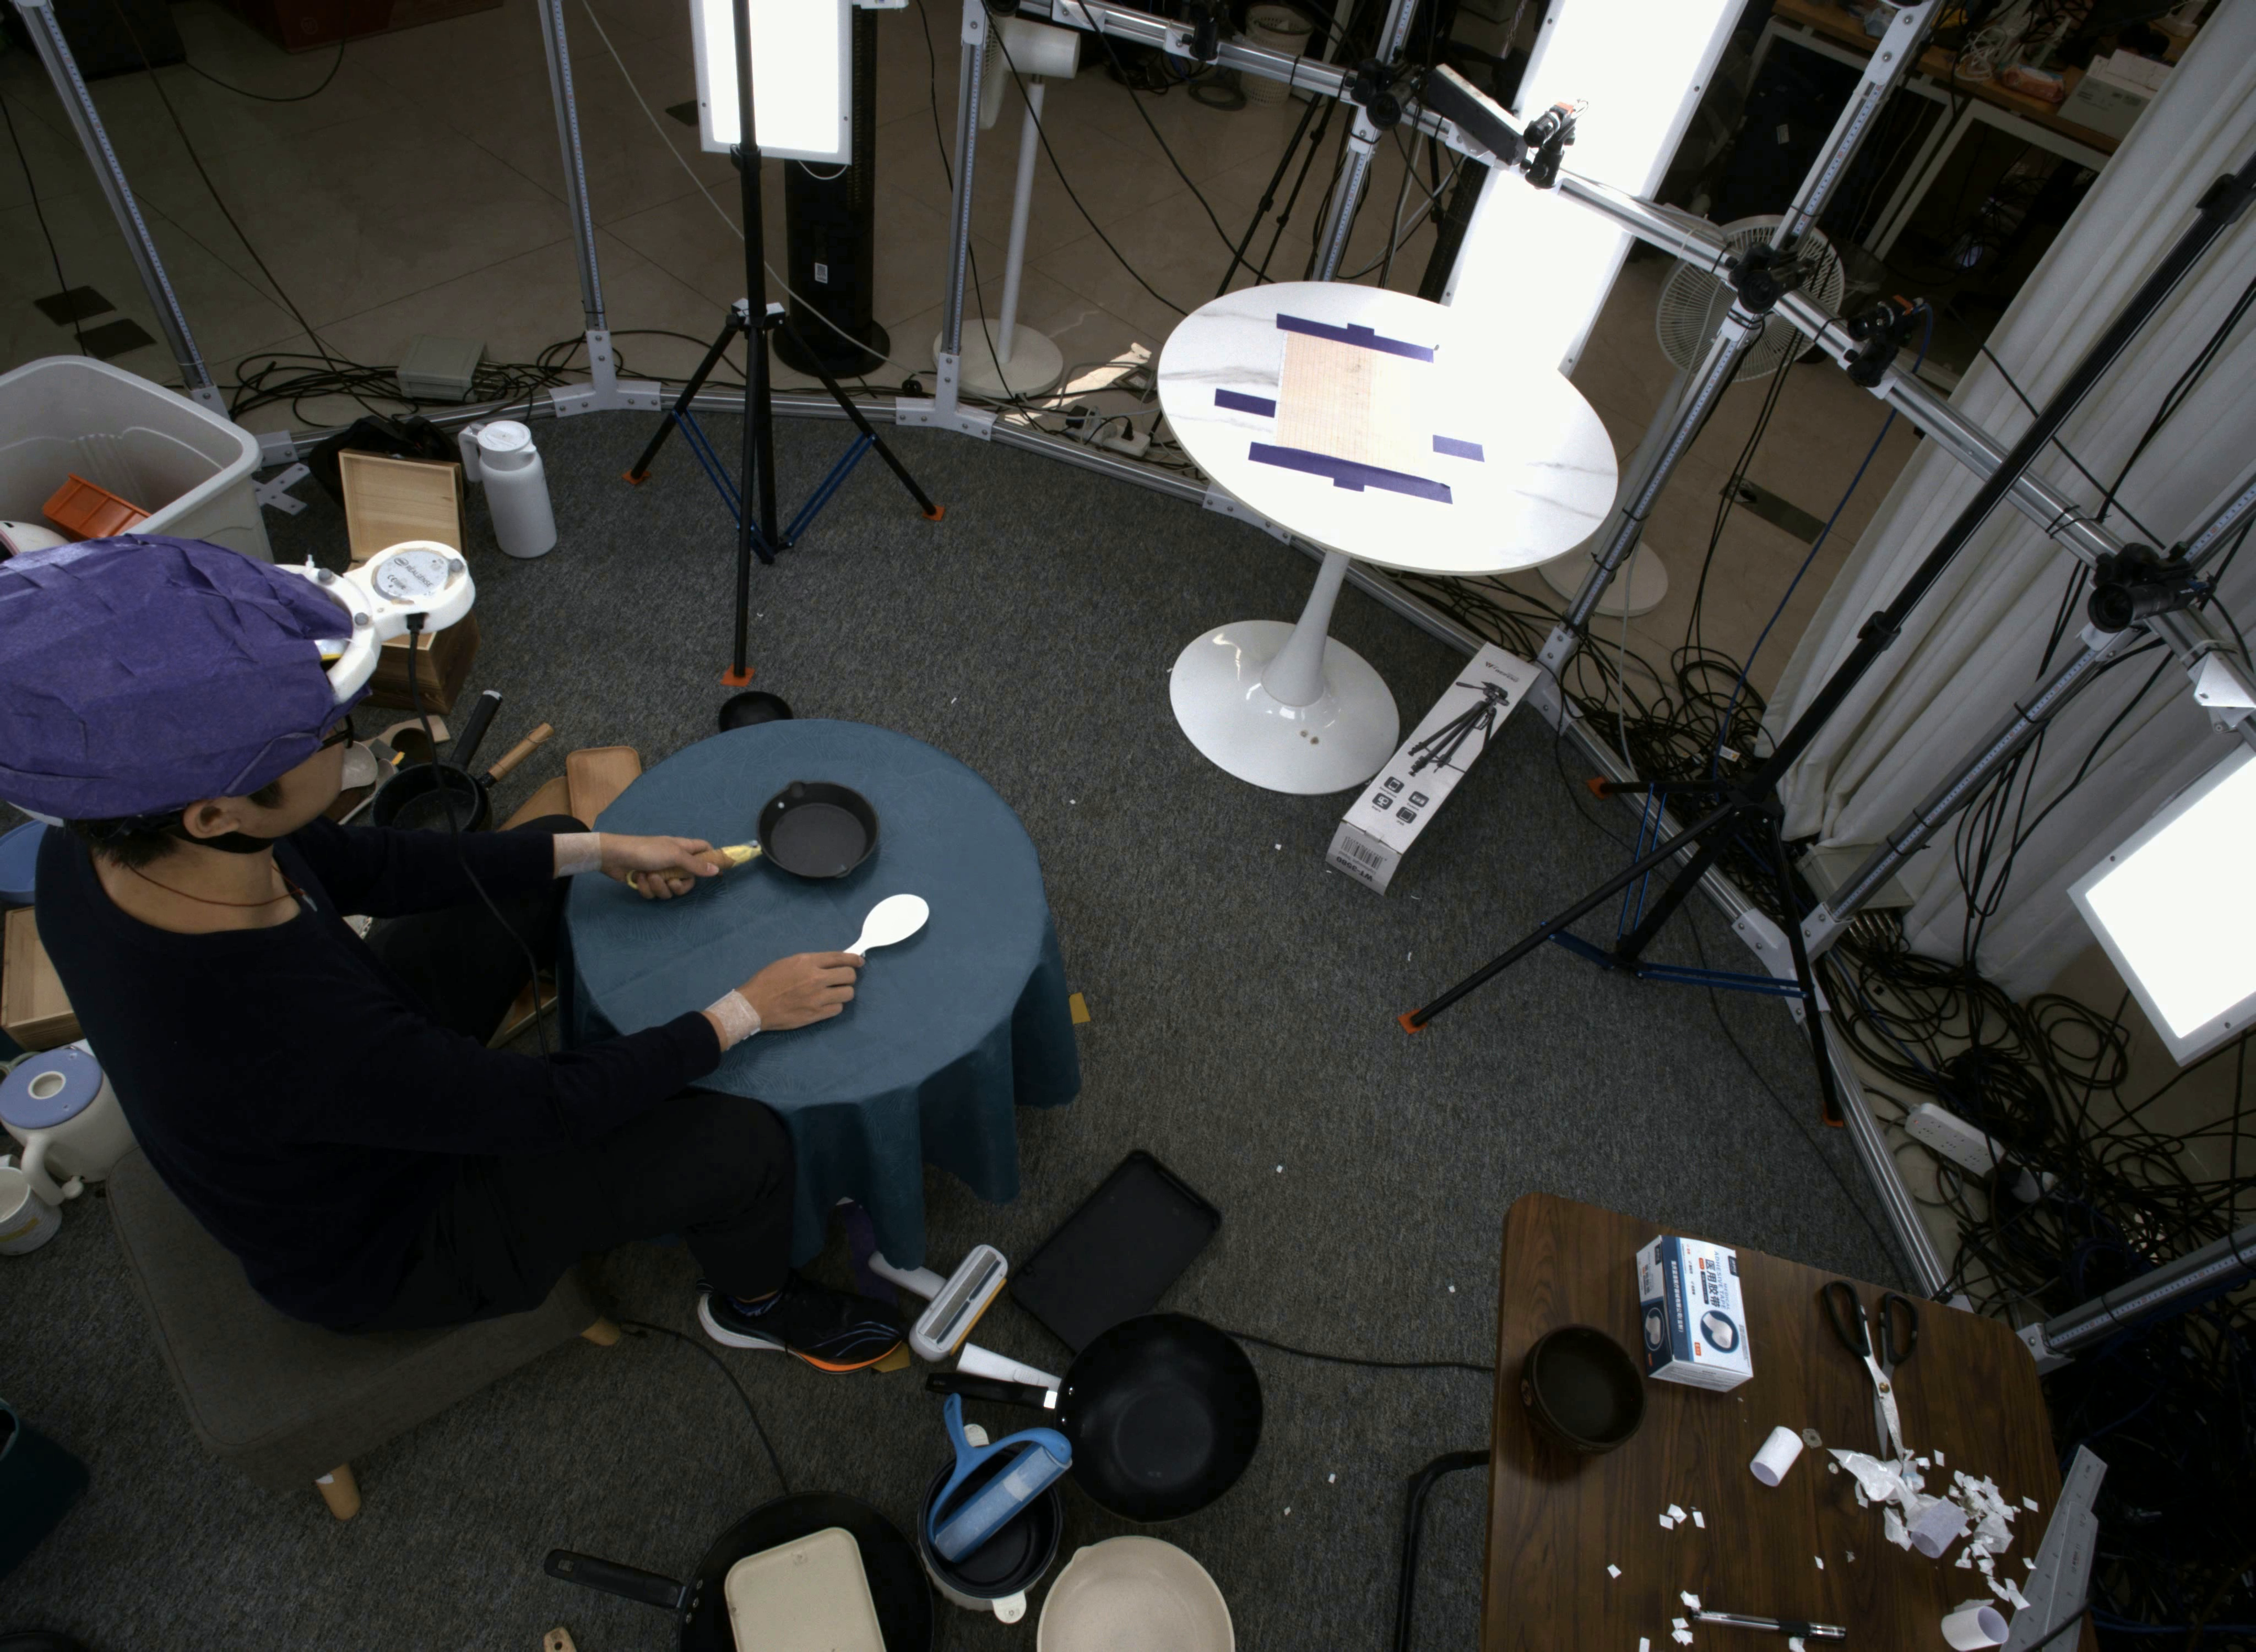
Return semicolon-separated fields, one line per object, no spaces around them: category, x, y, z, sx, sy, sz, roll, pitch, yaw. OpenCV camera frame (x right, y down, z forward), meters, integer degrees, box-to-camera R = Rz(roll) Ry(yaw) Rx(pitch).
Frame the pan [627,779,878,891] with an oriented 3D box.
pan;-0.476;0.029;1.645;0.326;0.050;0.165;-17;60;-27

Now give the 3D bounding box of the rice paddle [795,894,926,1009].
rice paddle;-0.329;0.146;1.610;0.067;0.030;0.205;31;52;20
